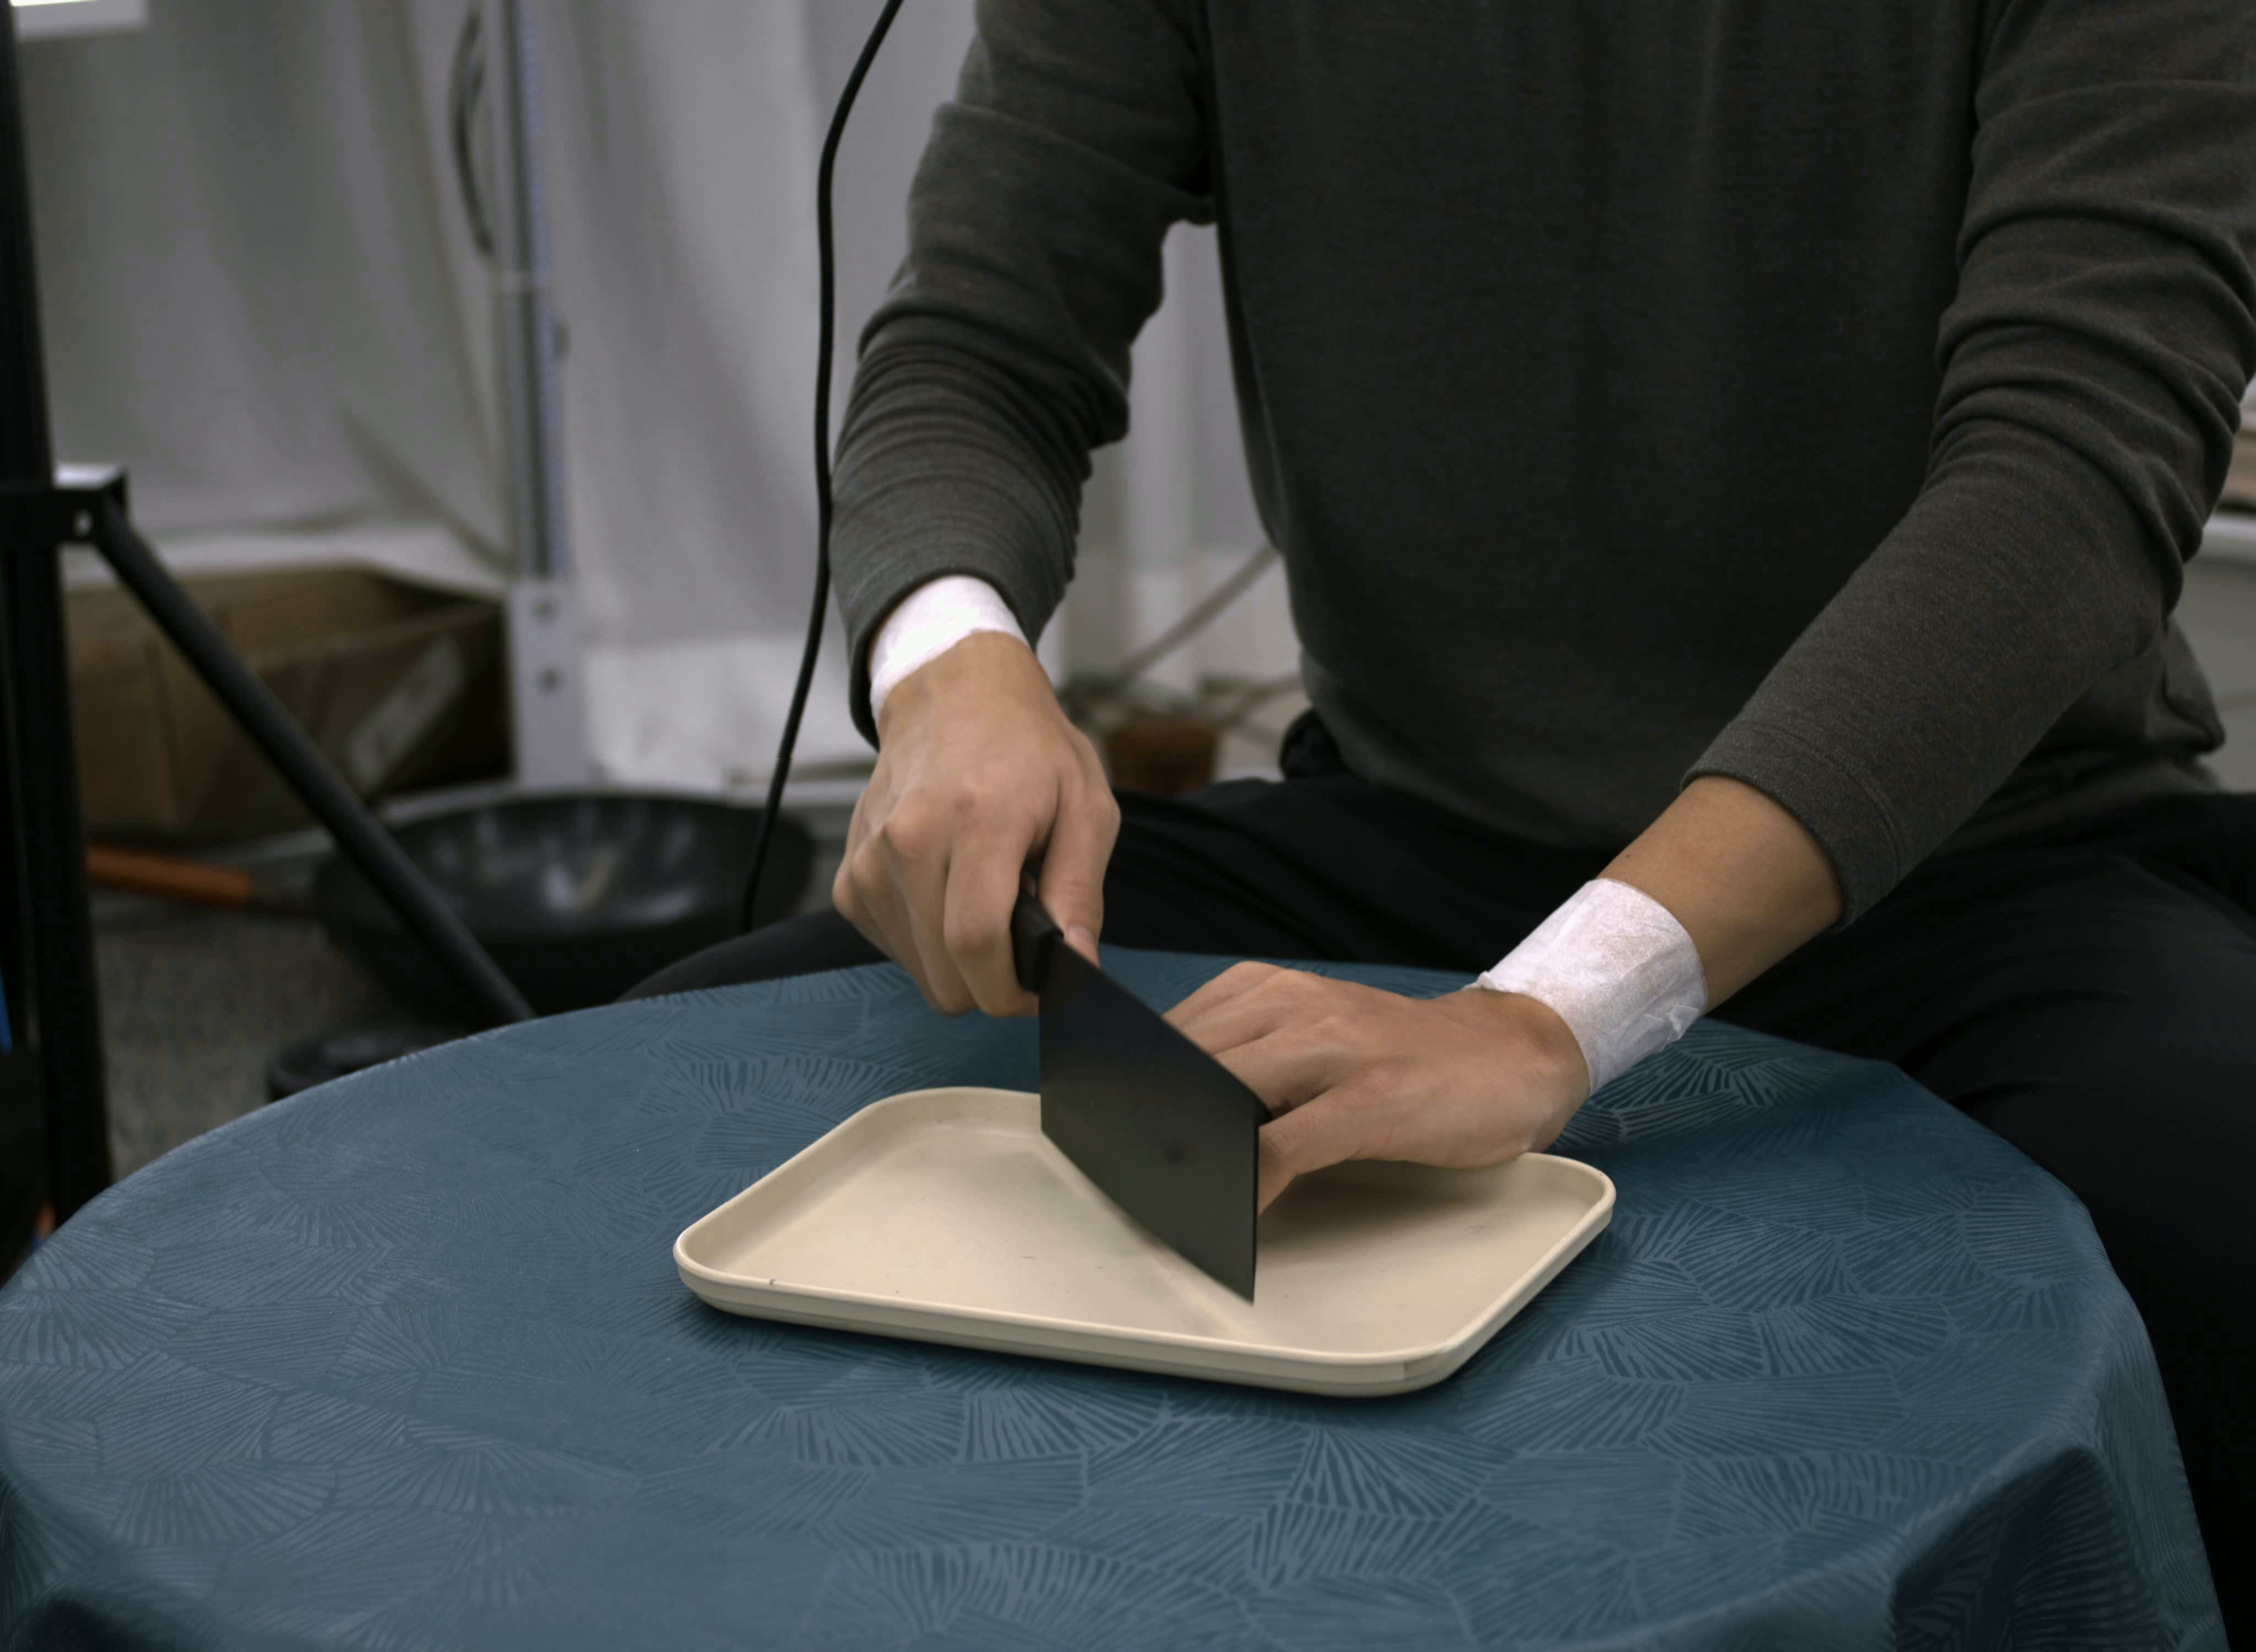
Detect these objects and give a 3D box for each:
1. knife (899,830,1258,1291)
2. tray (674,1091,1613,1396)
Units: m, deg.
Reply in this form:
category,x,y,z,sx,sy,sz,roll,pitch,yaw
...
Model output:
category,x,y,z,sx,sy,sz,roll,pitch,yaw
knife,-0.015,0.060,1.553,0.020,0.081,0.307,-4,19,-19
tray,0.006,0.117,1.497,0.243,0.017,0.168,5,17,26
